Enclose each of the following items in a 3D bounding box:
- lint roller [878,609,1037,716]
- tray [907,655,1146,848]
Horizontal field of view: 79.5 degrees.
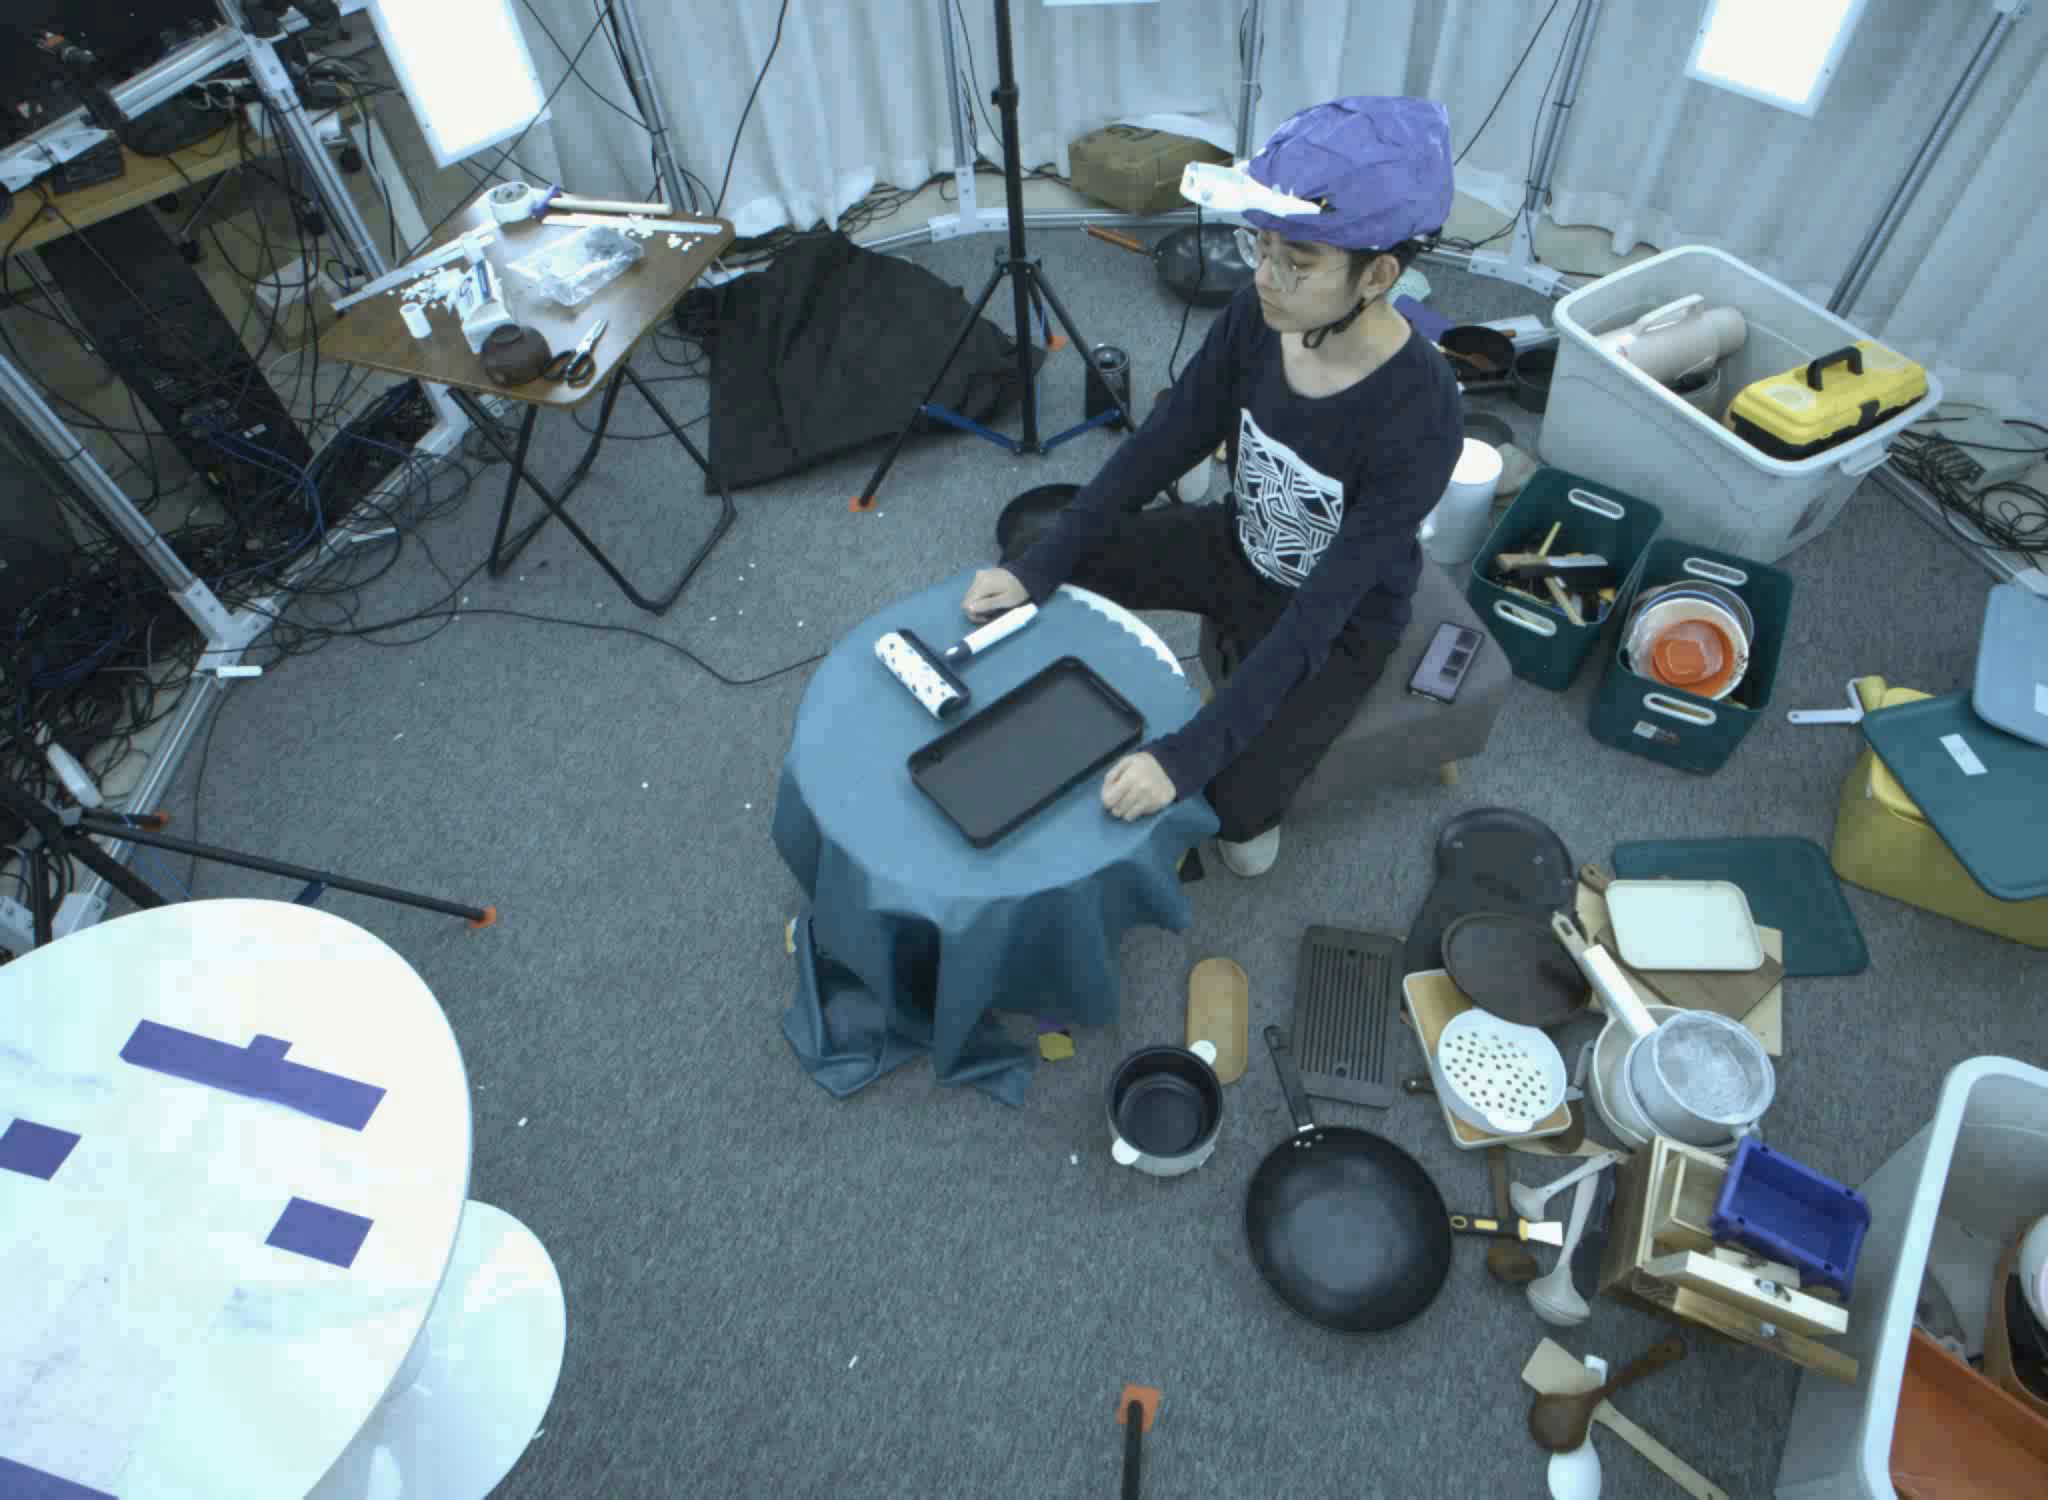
[{"bbox_3d":[-0.082,-0.164,1.890,0.249,0.051,0.173,-32,59,-24],"label":"lint roller"},{"bbox_3d":[0.005,-0.003,1.775,0.320,0.037,0.181,-34,61,-21],"label":"tray"}]
